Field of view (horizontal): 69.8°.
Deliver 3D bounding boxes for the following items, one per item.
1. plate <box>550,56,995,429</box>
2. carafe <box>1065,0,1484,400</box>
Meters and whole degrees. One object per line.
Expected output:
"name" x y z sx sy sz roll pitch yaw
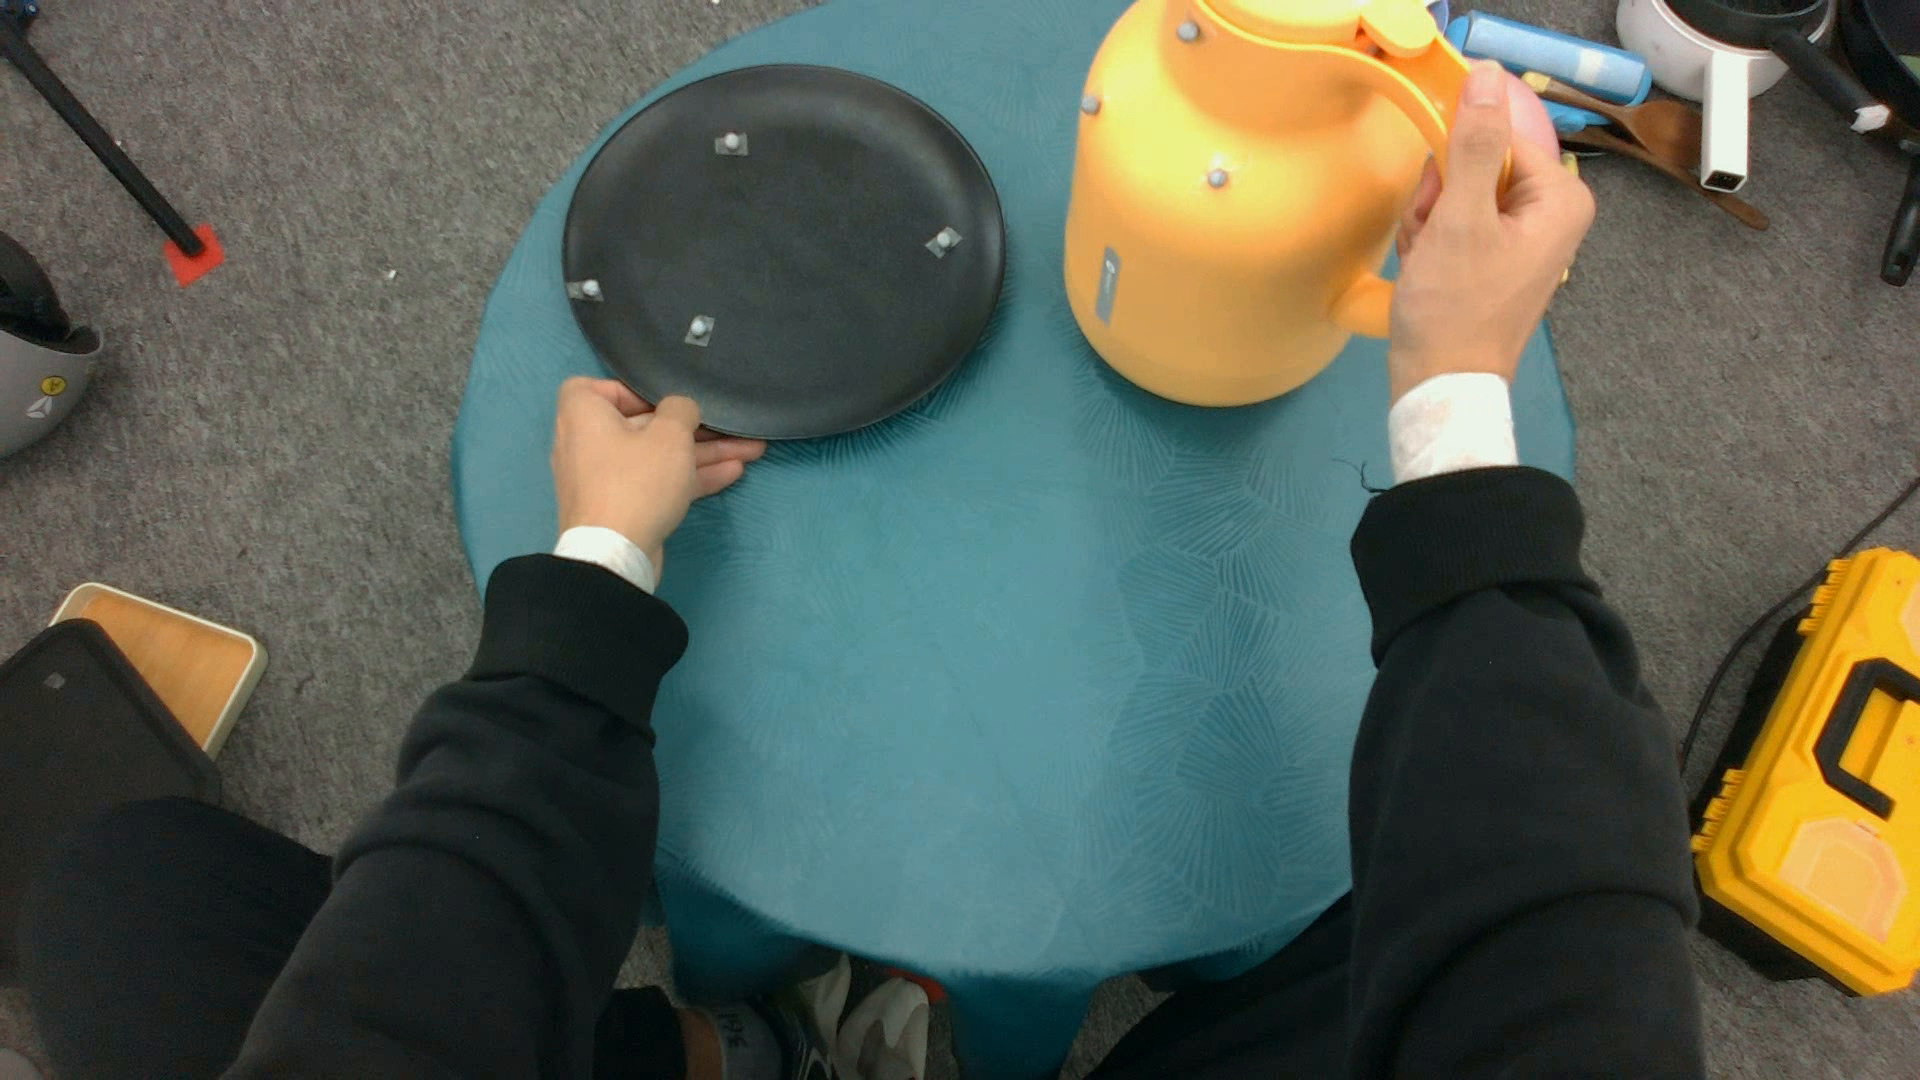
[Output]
"plate" -0.103 -0.166 0.766 0.244 0.023 0.245 1 67 -2
"carafe" 0.141 -0.175 0.645 0.164 0.259 0.202 -36 67 -11
